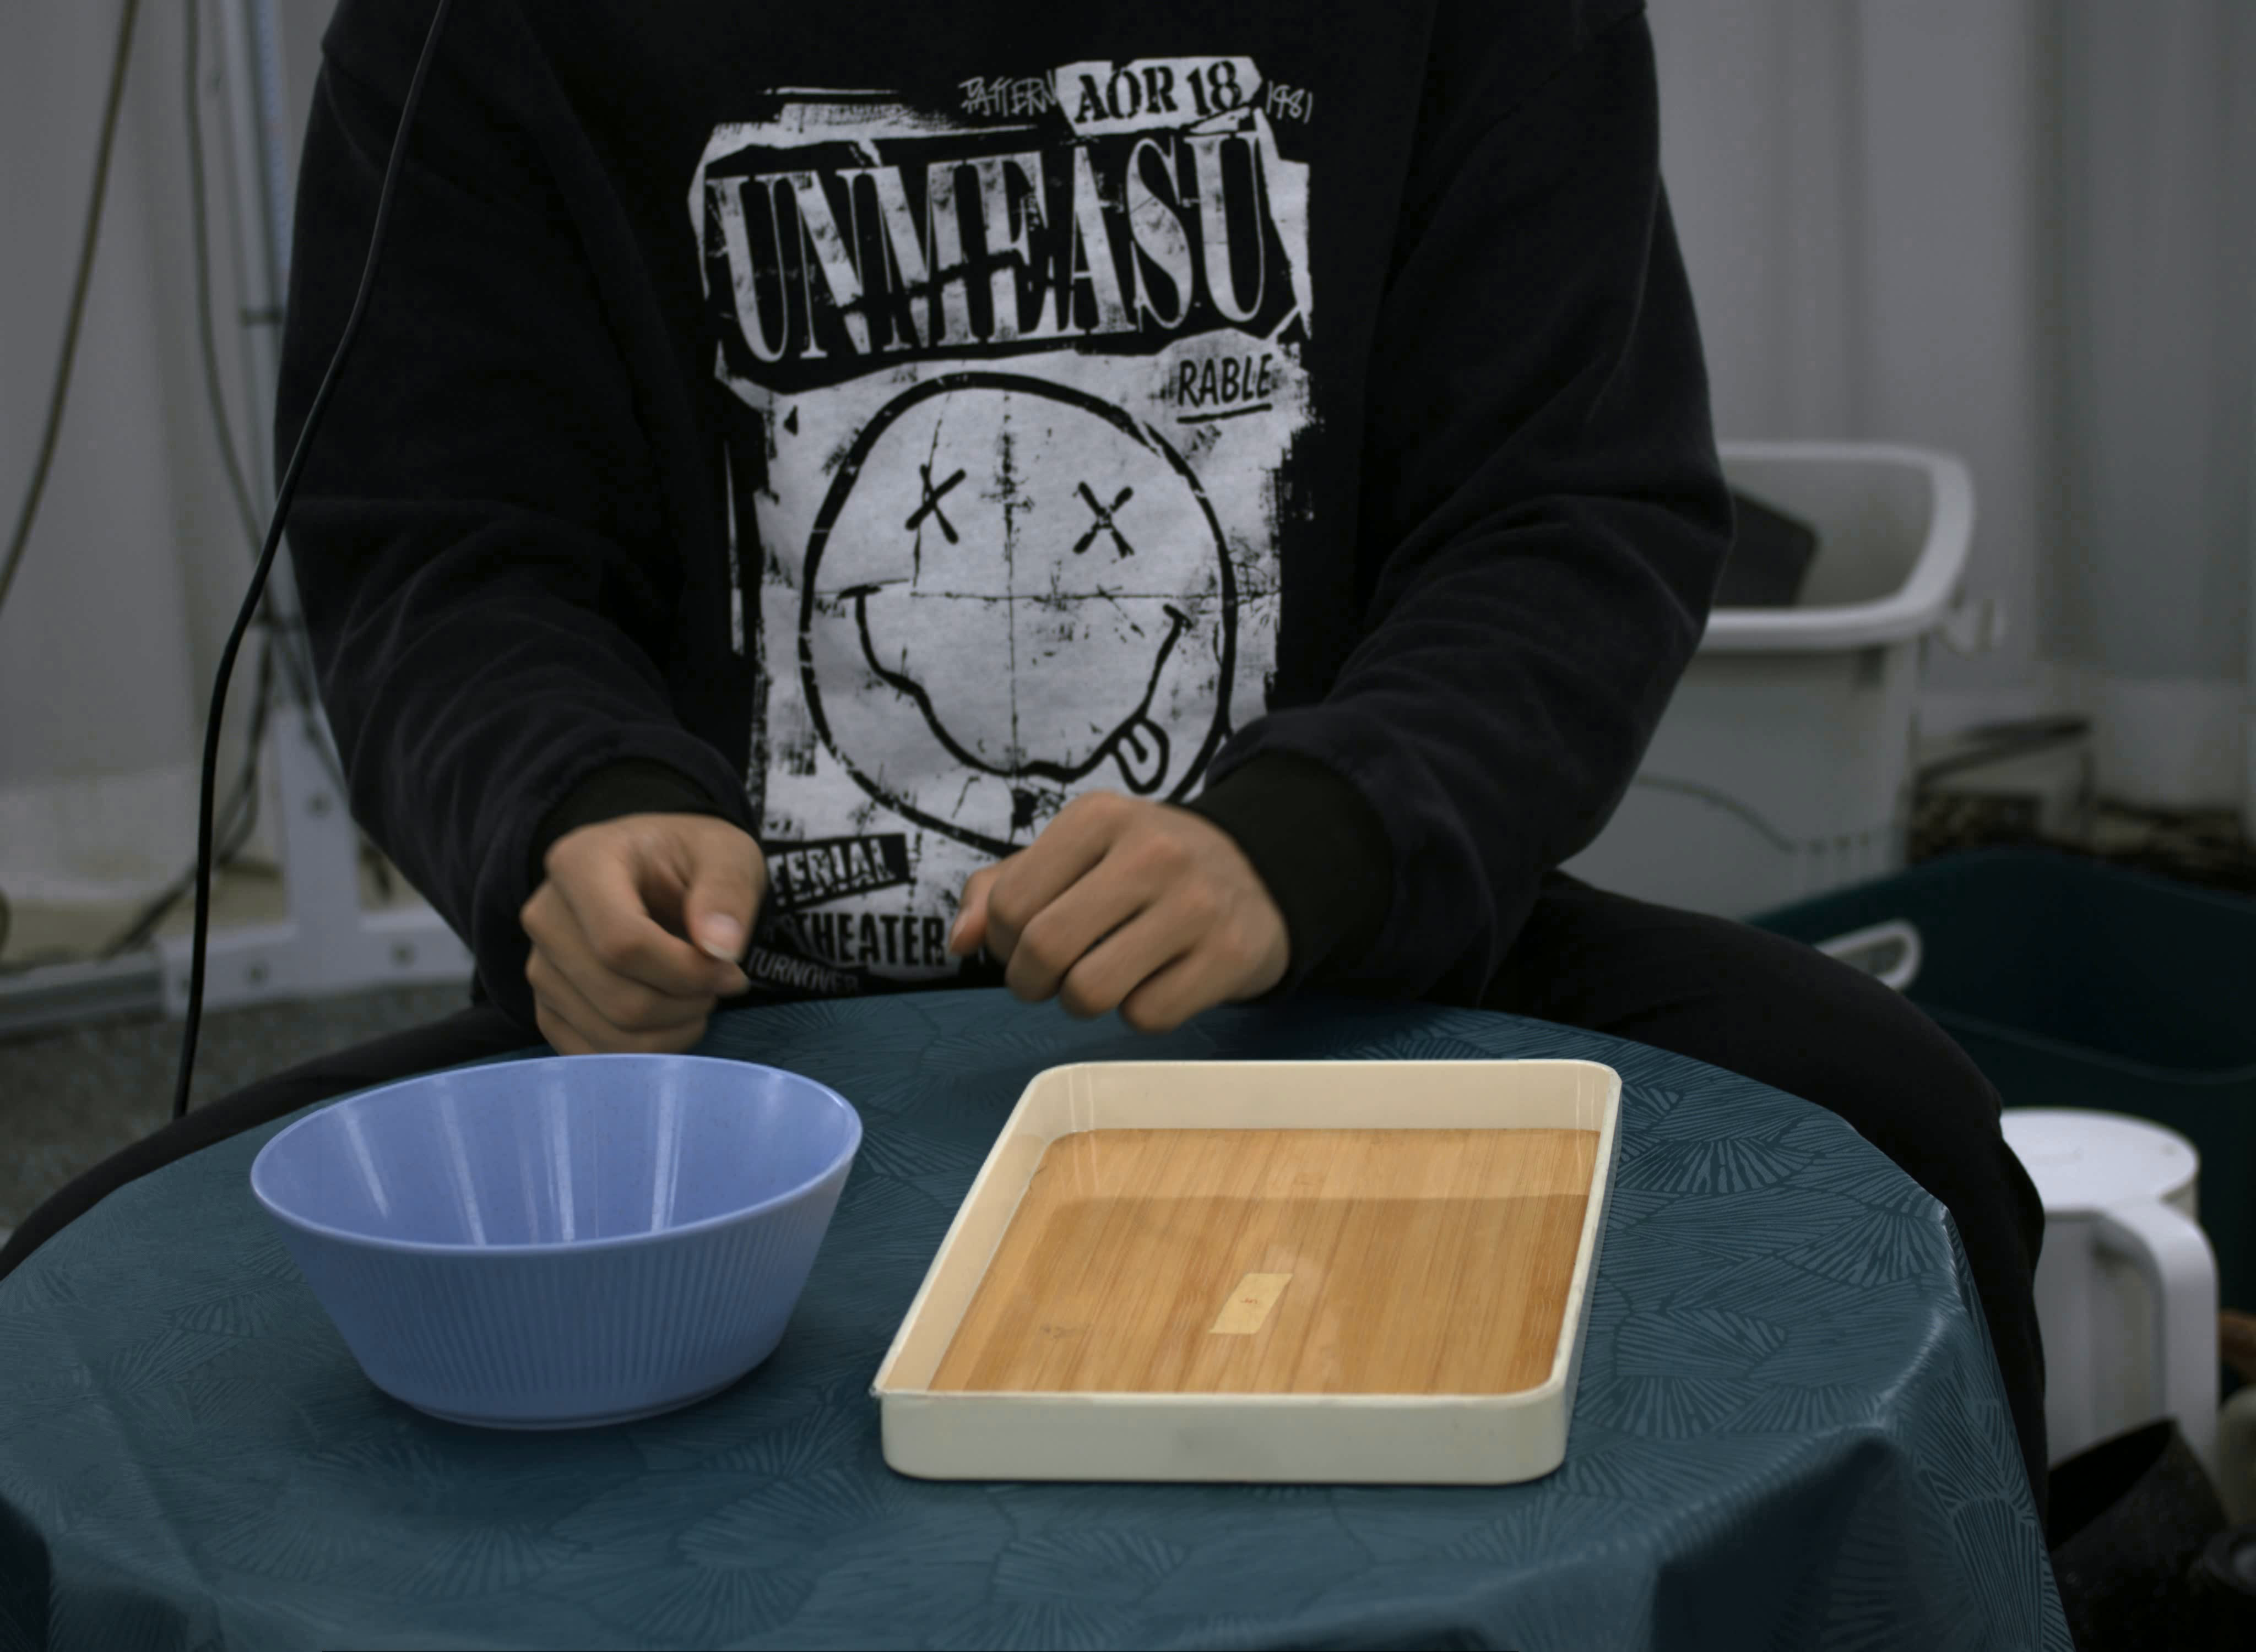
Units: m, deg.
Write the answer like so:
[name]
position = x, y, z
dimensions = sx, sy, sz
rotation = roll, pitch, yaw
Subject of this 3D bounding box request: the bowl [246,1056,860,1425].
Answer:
[bowl]
position = -0.164, 0.122, 1.579
dimensions = 0.175, 0.070, 0.177
rotation = -2, 15, 0

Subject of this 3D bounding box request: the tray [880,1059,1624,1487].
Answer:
[tray]
position = 0.044, 0.127, 1.609
dimensions = 0.191, 0.027, 0.302
rotation = -1, 15, 9
